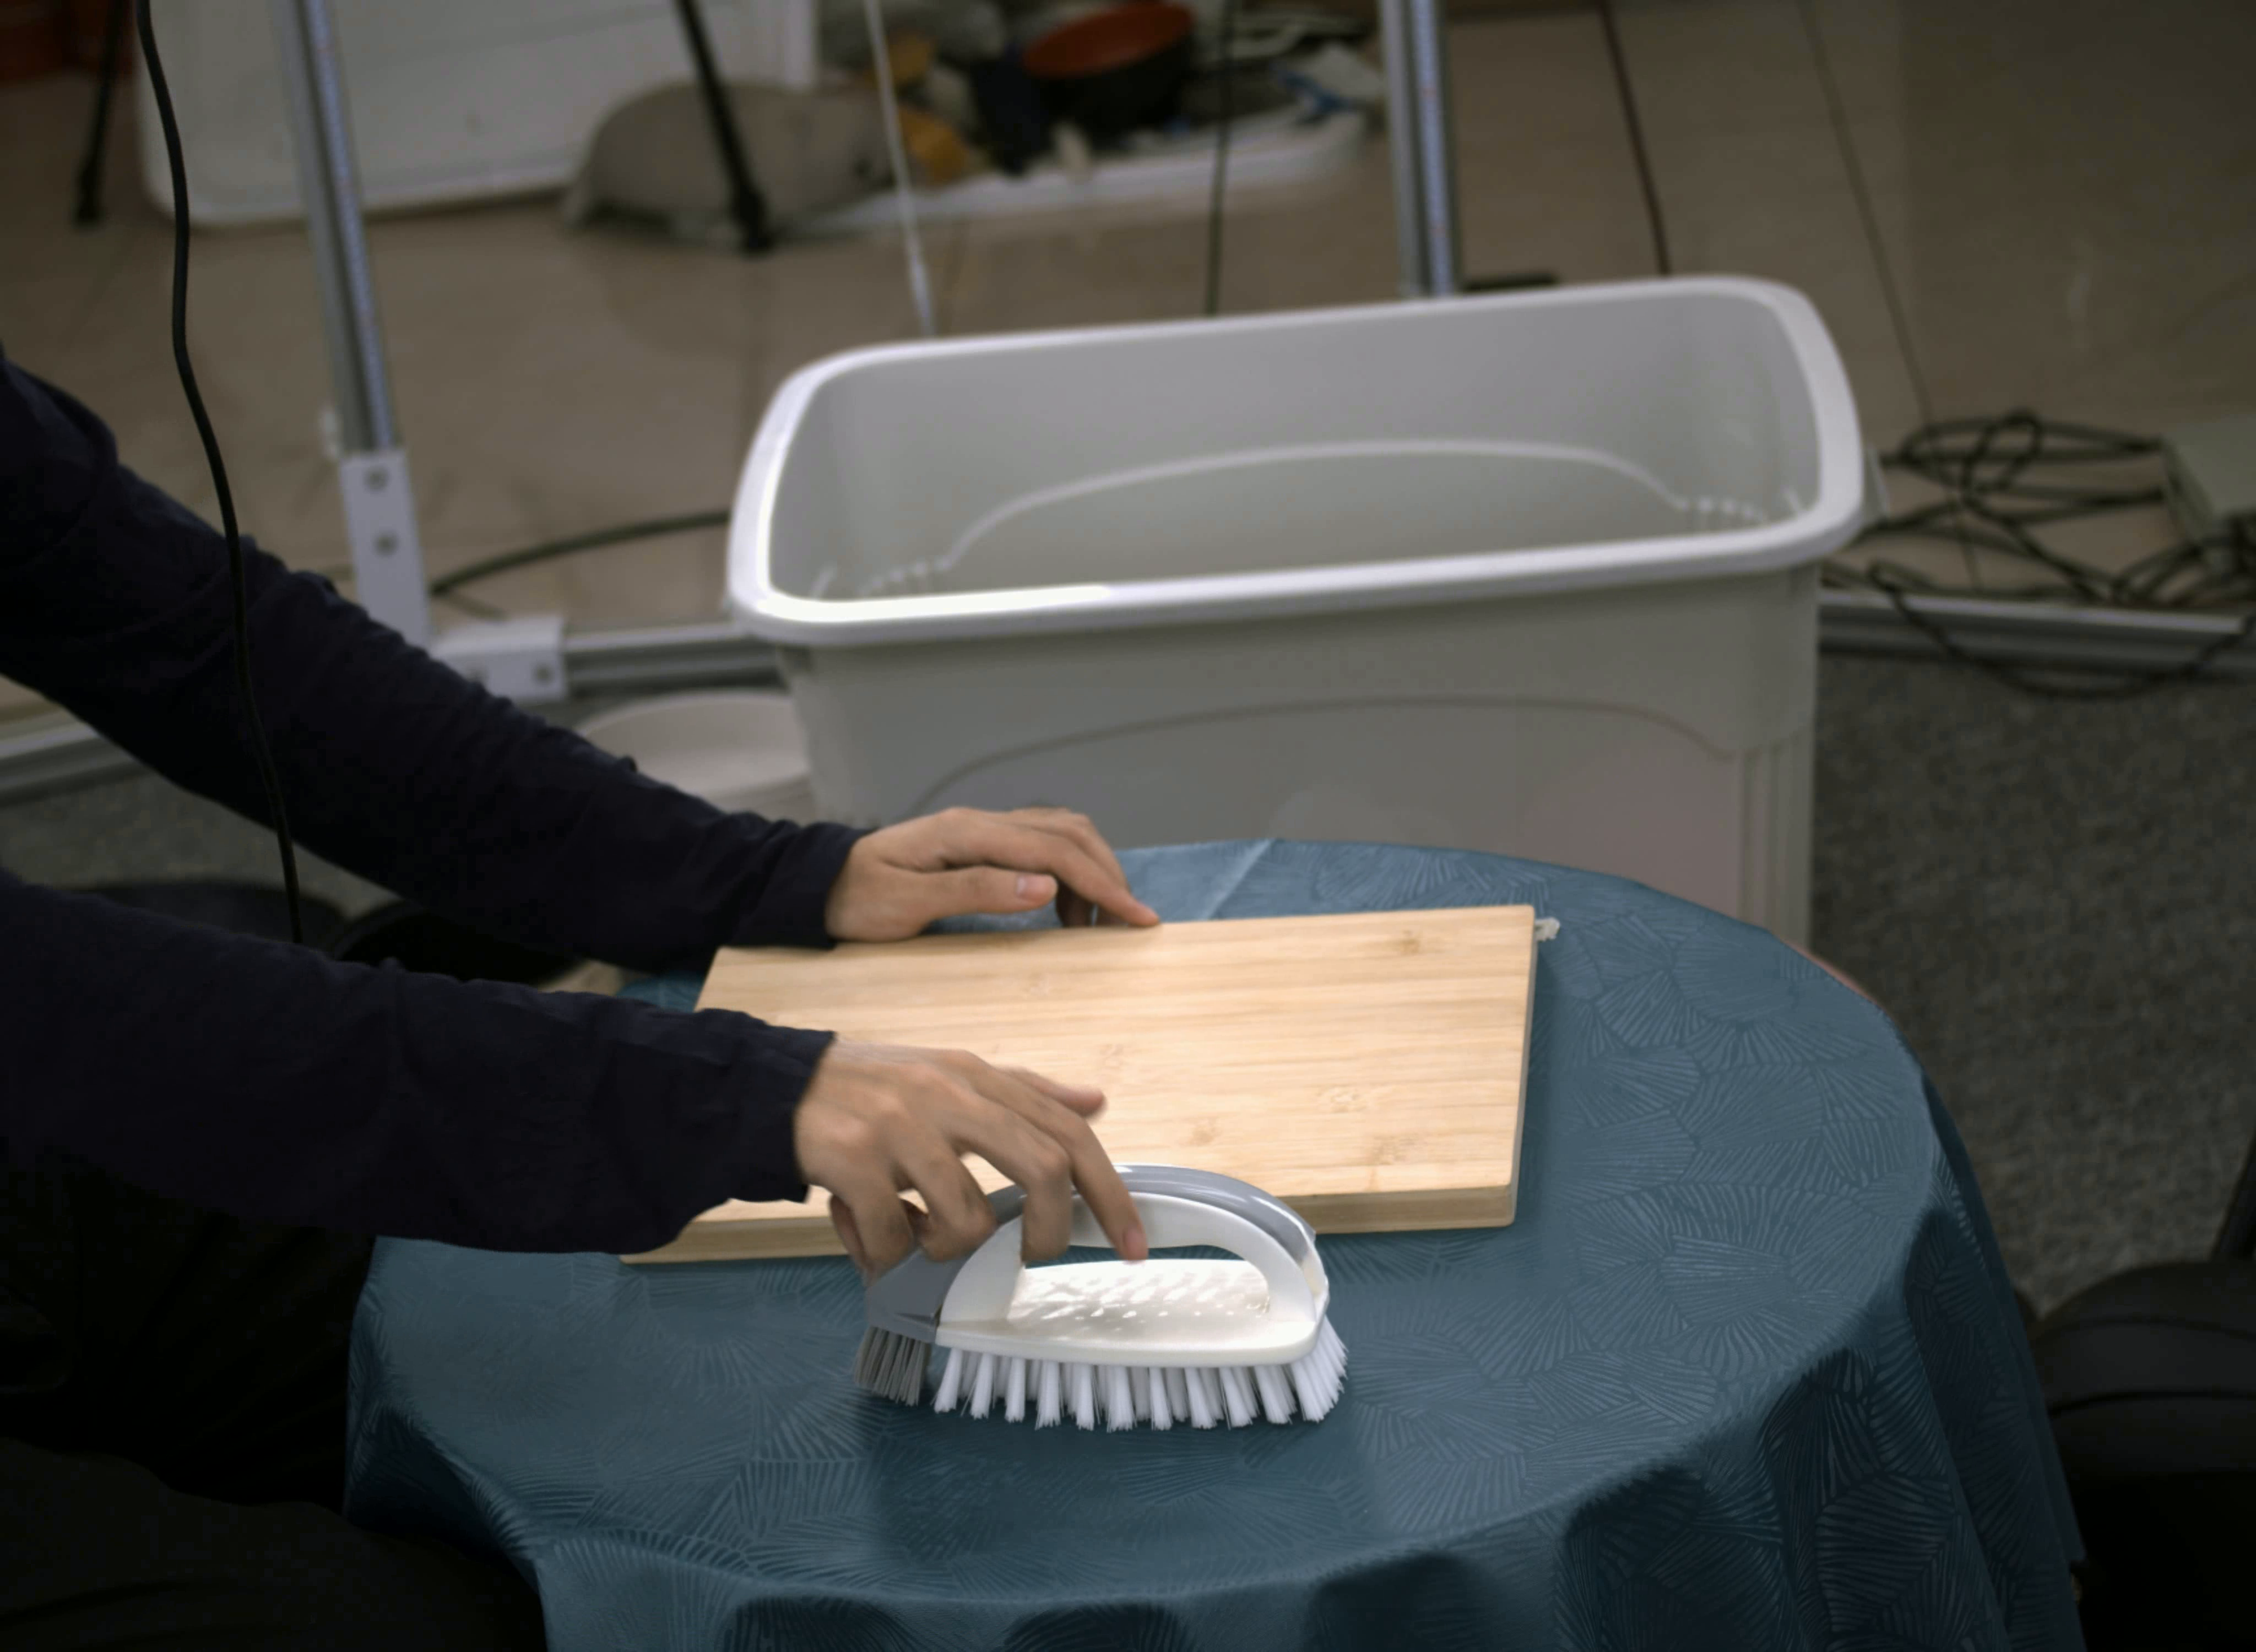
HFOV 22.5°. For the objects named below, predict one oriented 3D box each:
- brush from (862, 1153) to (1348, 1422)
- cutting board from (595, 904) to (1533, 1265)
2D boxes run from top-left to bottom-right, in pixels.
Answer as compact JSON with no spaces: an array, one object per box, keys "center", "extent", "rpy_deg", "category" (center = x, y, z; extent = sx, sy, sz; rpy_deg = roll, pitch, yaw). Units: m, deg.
[{"center":[-0.014,0.161,1.993],"extent":[0.175,0.095,0.060],"rpy_deg":[-3,24,13],"category":"brush"},{"center":[-0.018,0.099,2.219],"extent":[0.348,0.024,0.247],"rpy_deg":[-3,24,7],"category":"cutting board"}]
